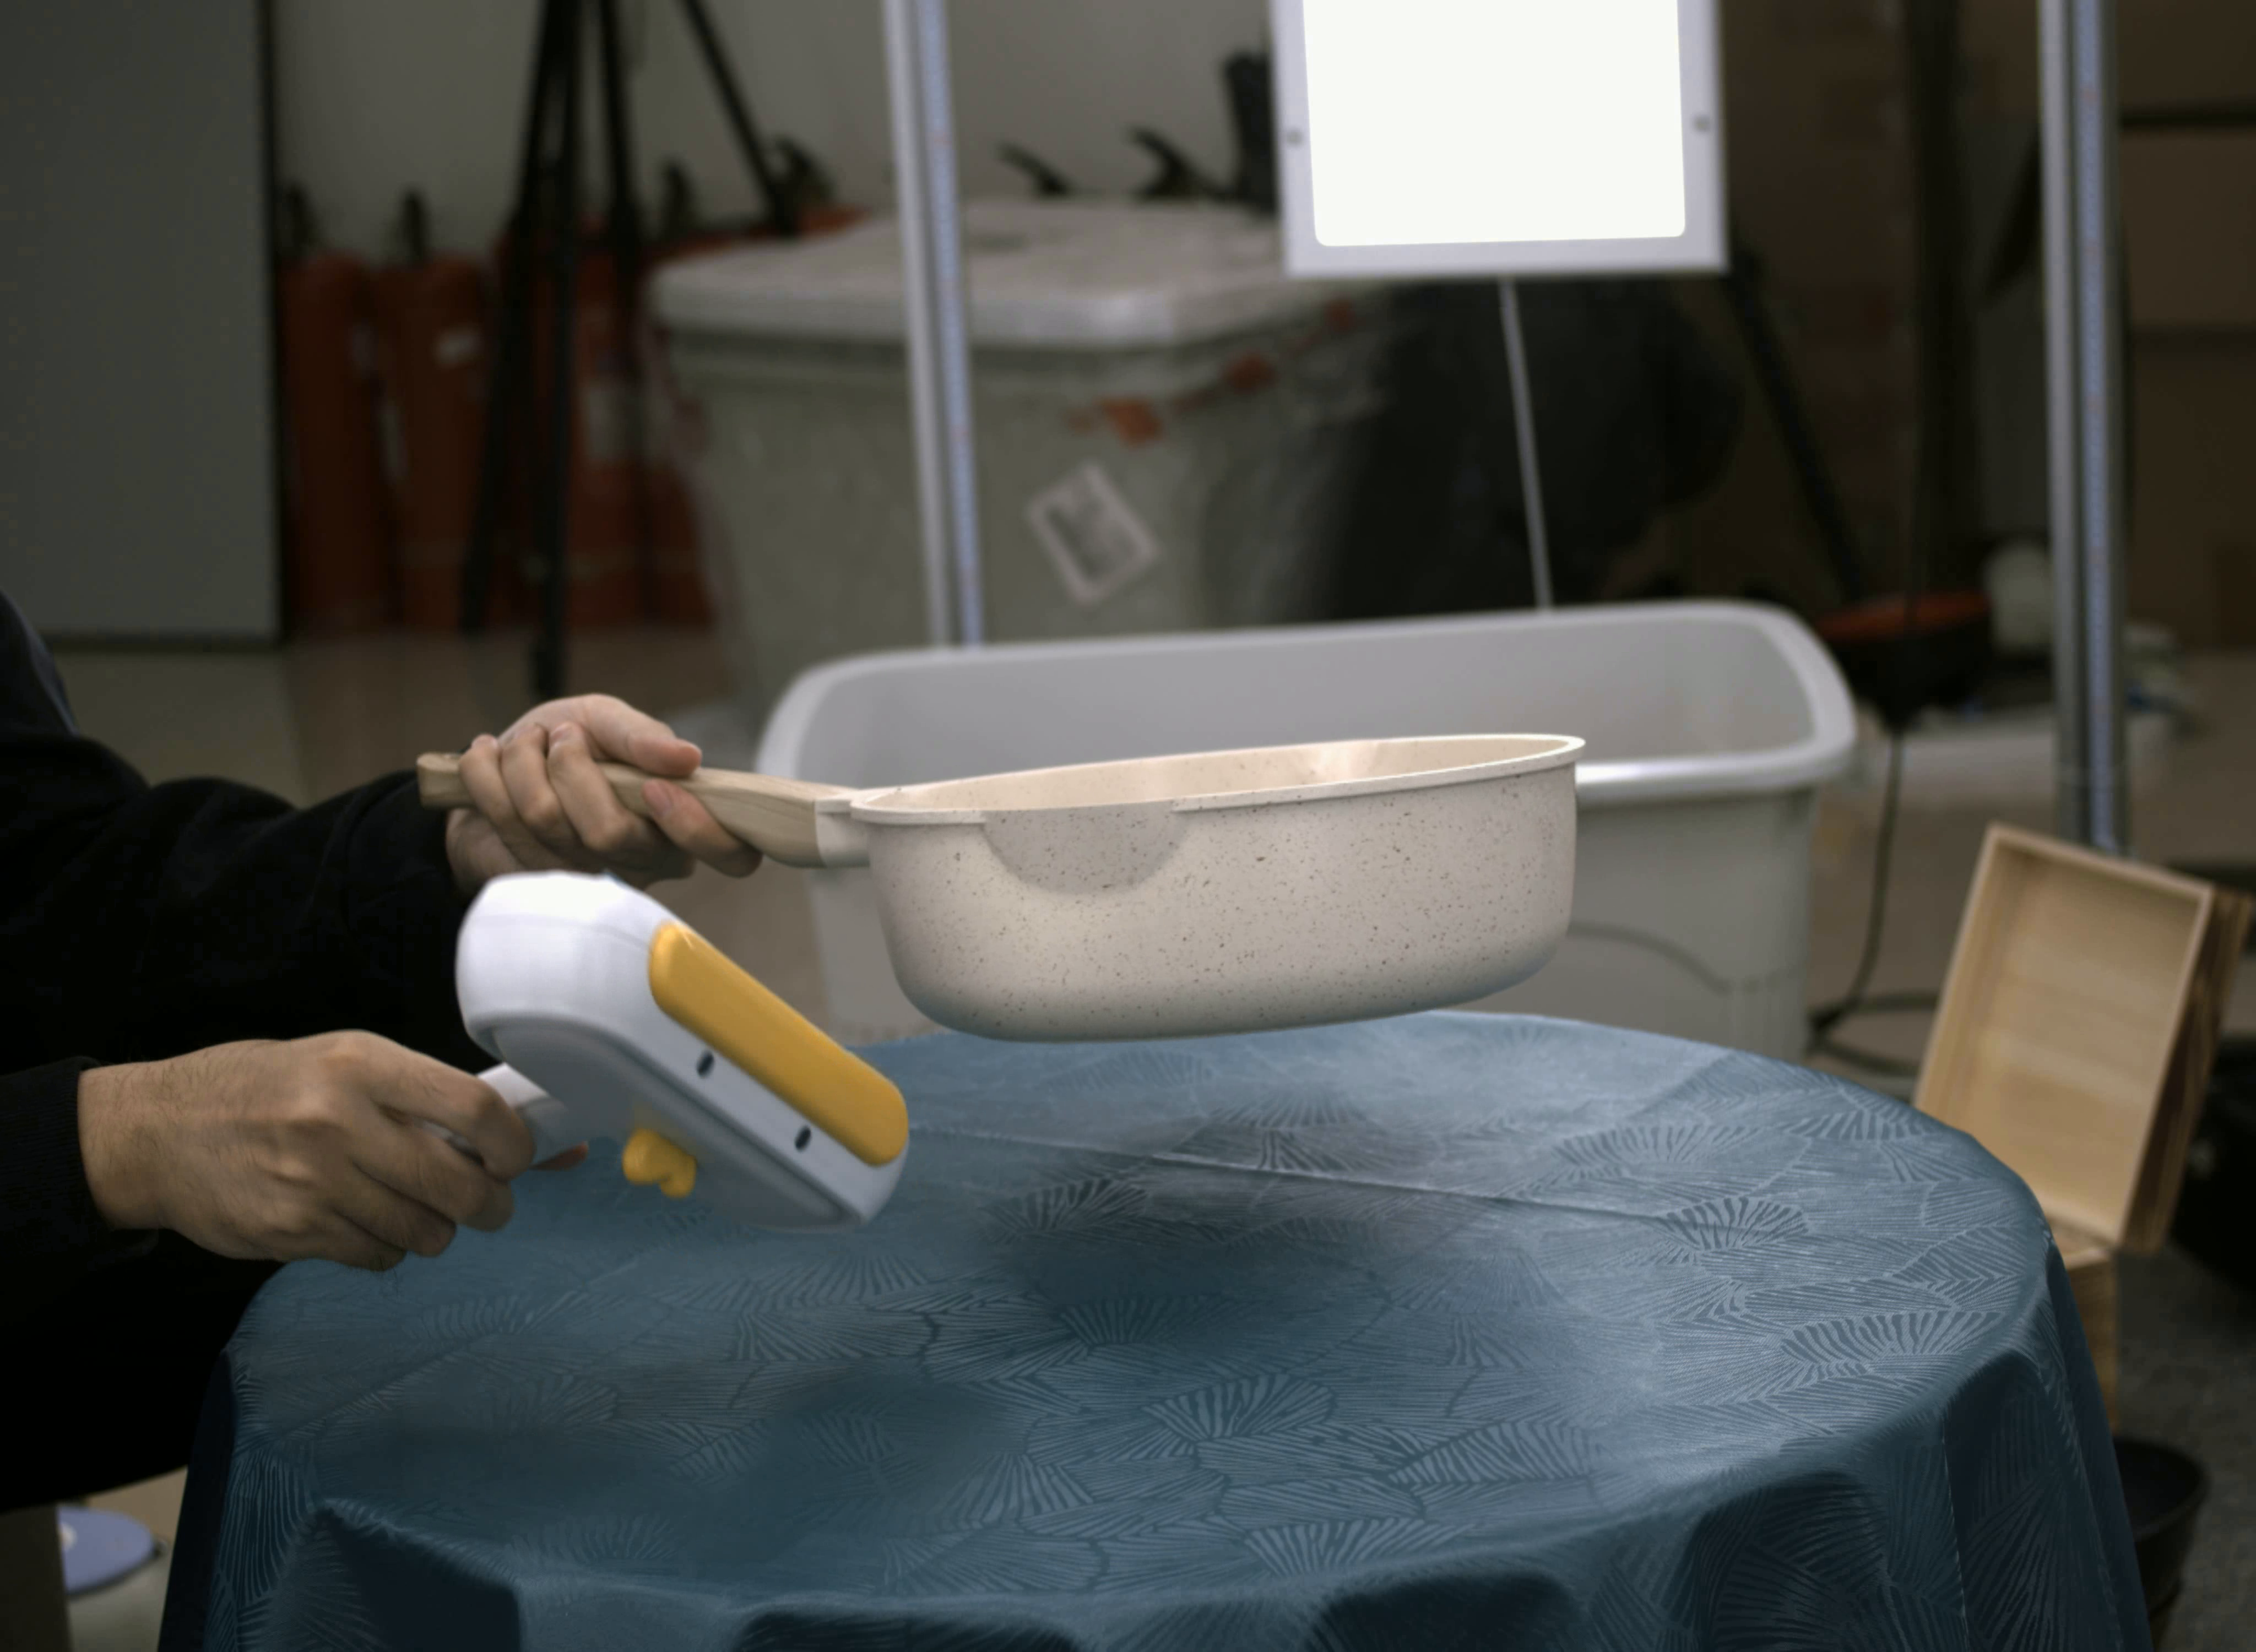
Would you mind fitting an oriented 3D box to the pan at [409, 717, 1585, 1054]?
[{"bbox_3d":[-0.051,0.018,1.907,0.442,0.102,0.258,-4,6,25],"label":"pan"}]

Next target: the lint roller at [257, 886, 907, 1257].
[{"bbox_3d":[-0.187,0.089,1.704,0.196,0.074,0.189,-12,-26,30],"label":"lint roller"}]
